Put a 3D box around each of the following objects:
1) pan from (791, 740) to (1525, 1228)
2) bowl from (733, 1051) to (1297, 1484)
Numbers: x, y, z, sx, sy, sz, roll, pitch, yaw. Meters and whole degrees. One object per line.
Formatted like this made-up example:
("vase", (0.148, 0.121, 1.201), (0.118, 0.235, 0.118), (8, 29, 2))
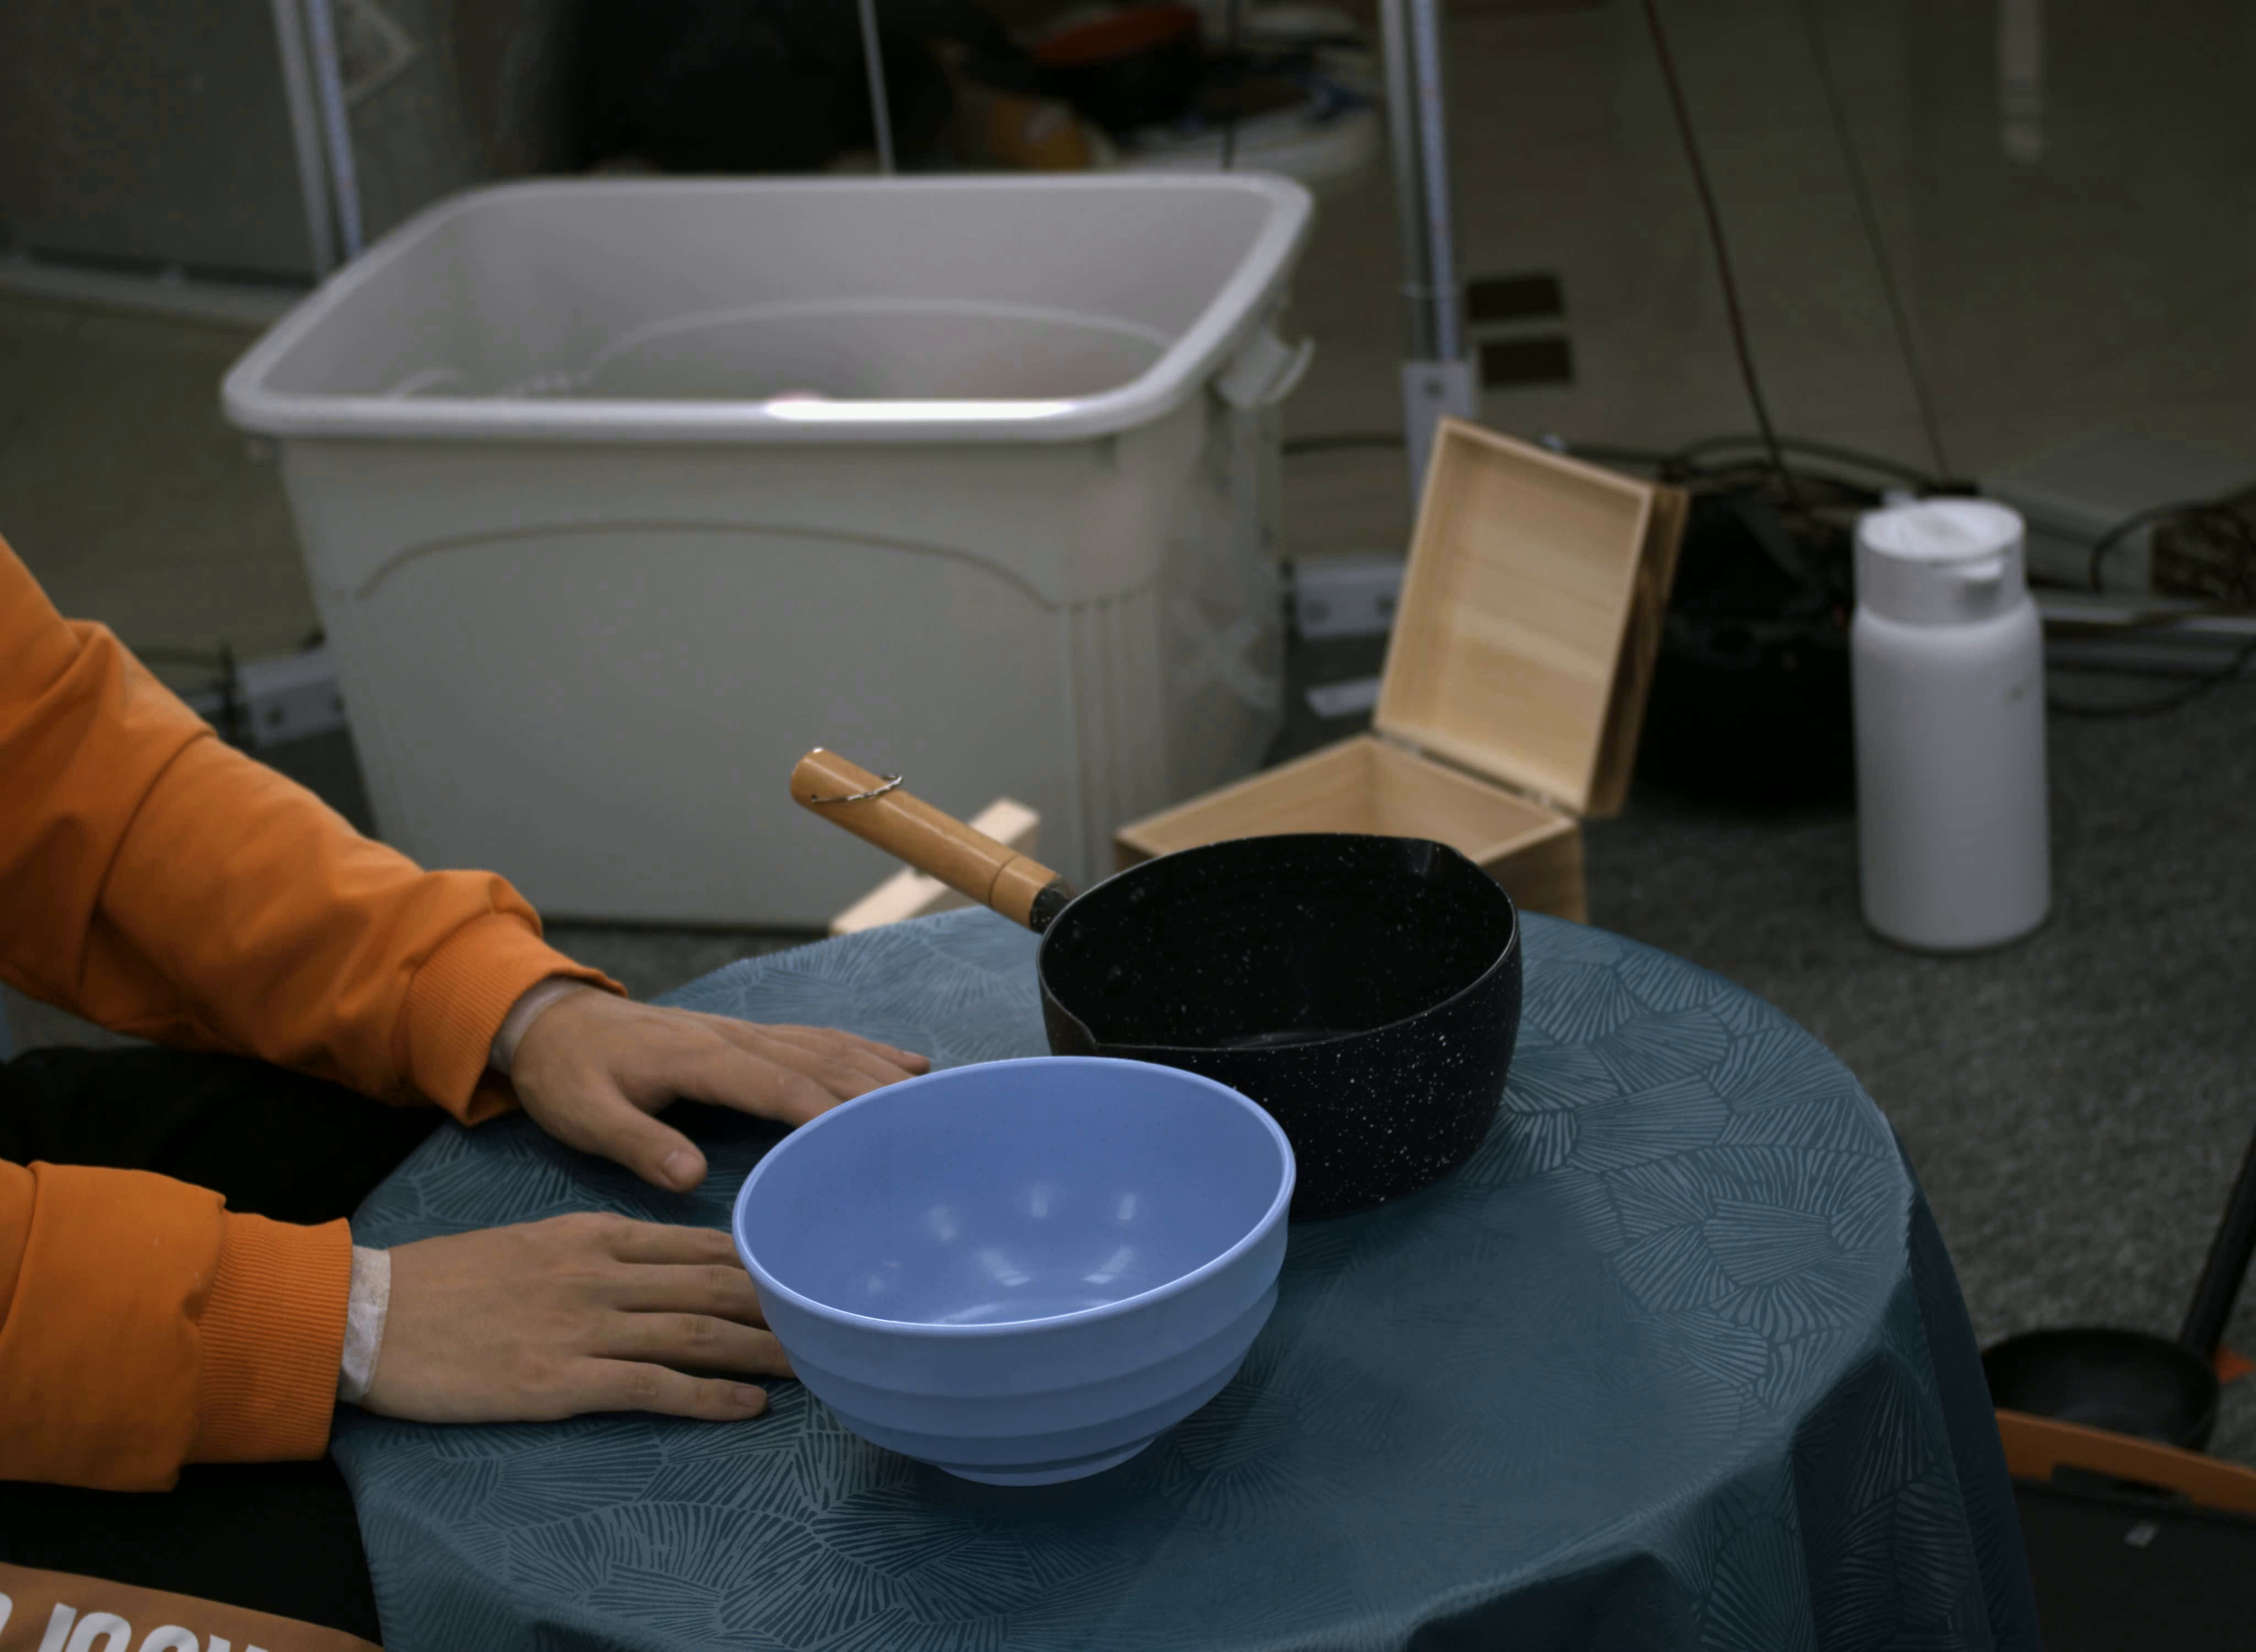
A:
("pan", (-0.001, 0.053, 2.201), (0.340, 0.110, 0.205), (16, 35, 37))
("bowl", (-0.035, 0.166, 1.982), (0.196, 0.097, 0.193), (-5, 26, 2))
